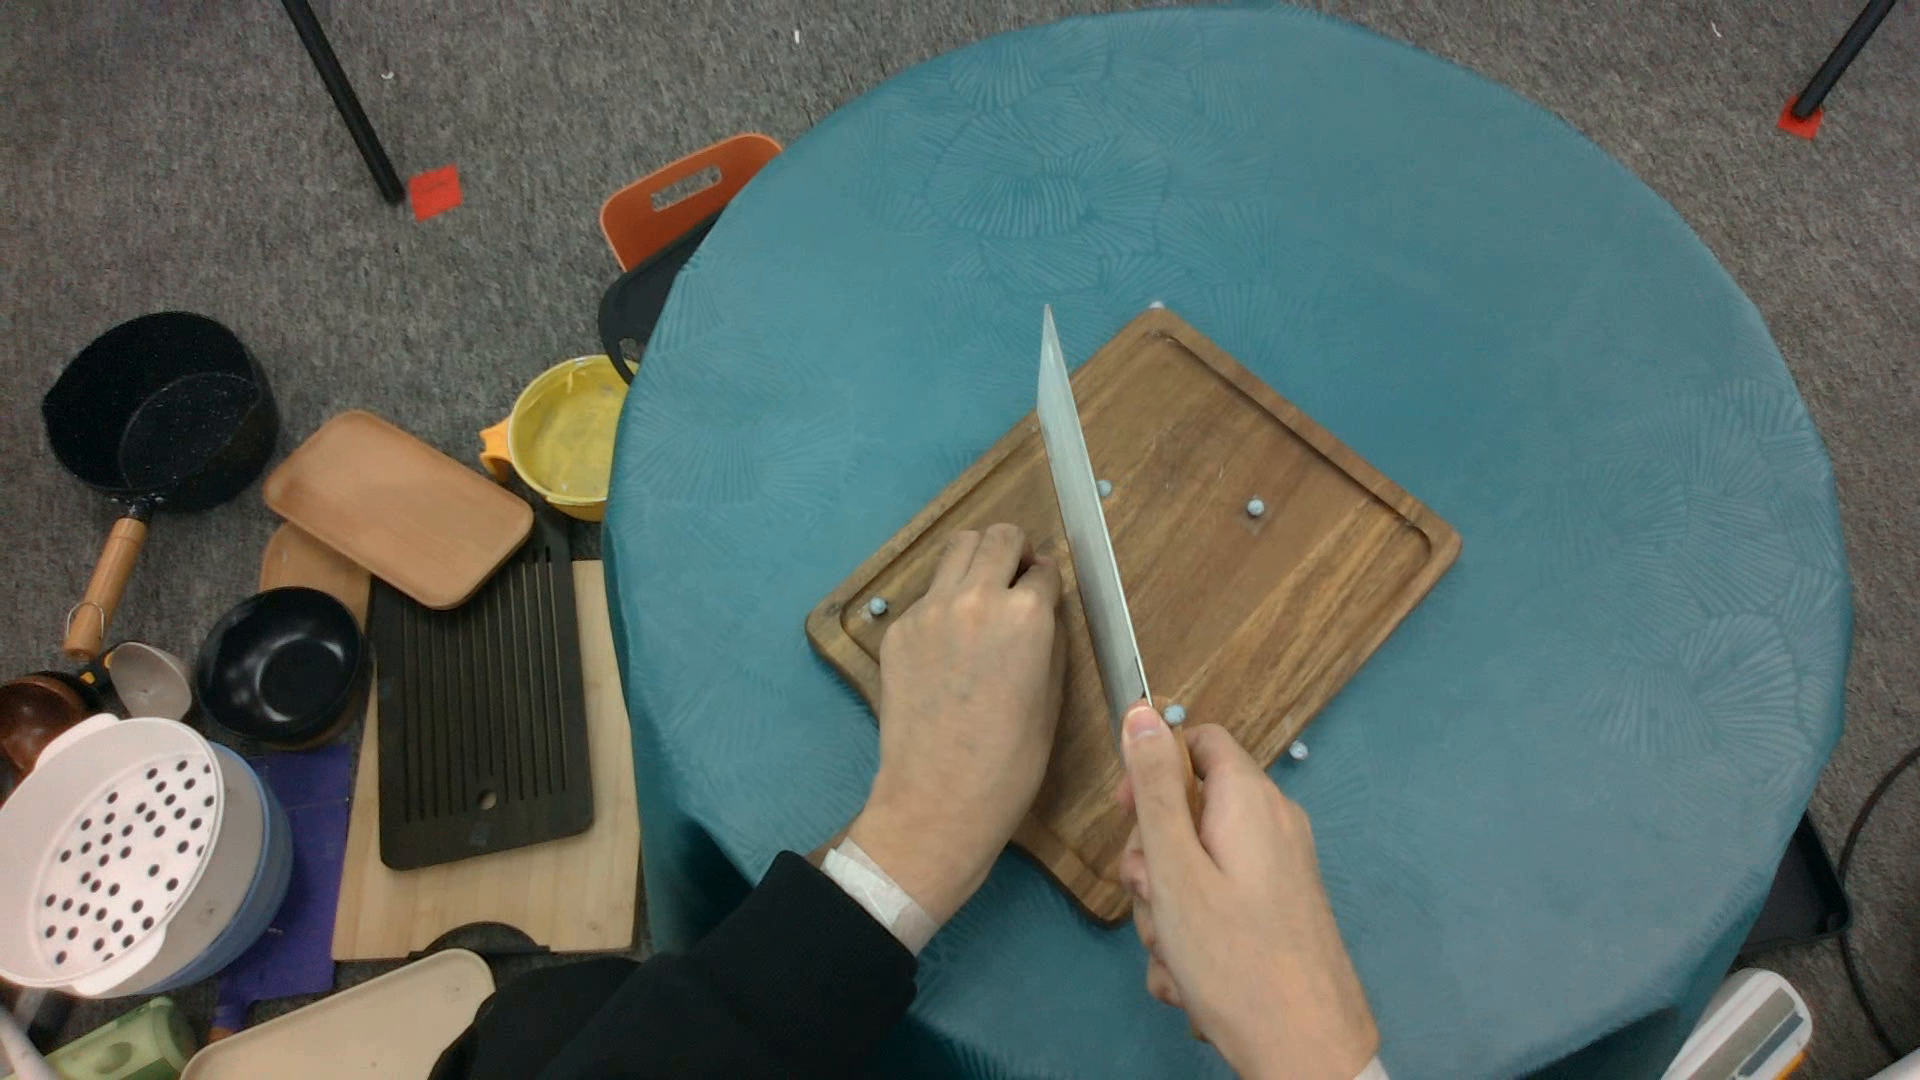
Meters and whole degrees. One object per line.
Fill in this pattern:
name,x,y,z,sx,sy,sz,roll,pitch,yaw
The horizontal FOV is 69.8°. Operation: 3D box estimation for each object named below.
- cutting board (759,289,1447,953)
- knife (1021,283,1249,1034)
cutting board,0.042,0.047,0.626,0.201,0.023,0.353,41,71,17
knife,0.059,0.042,0.552,0.021,0.092,0.306,-9,65,-6
